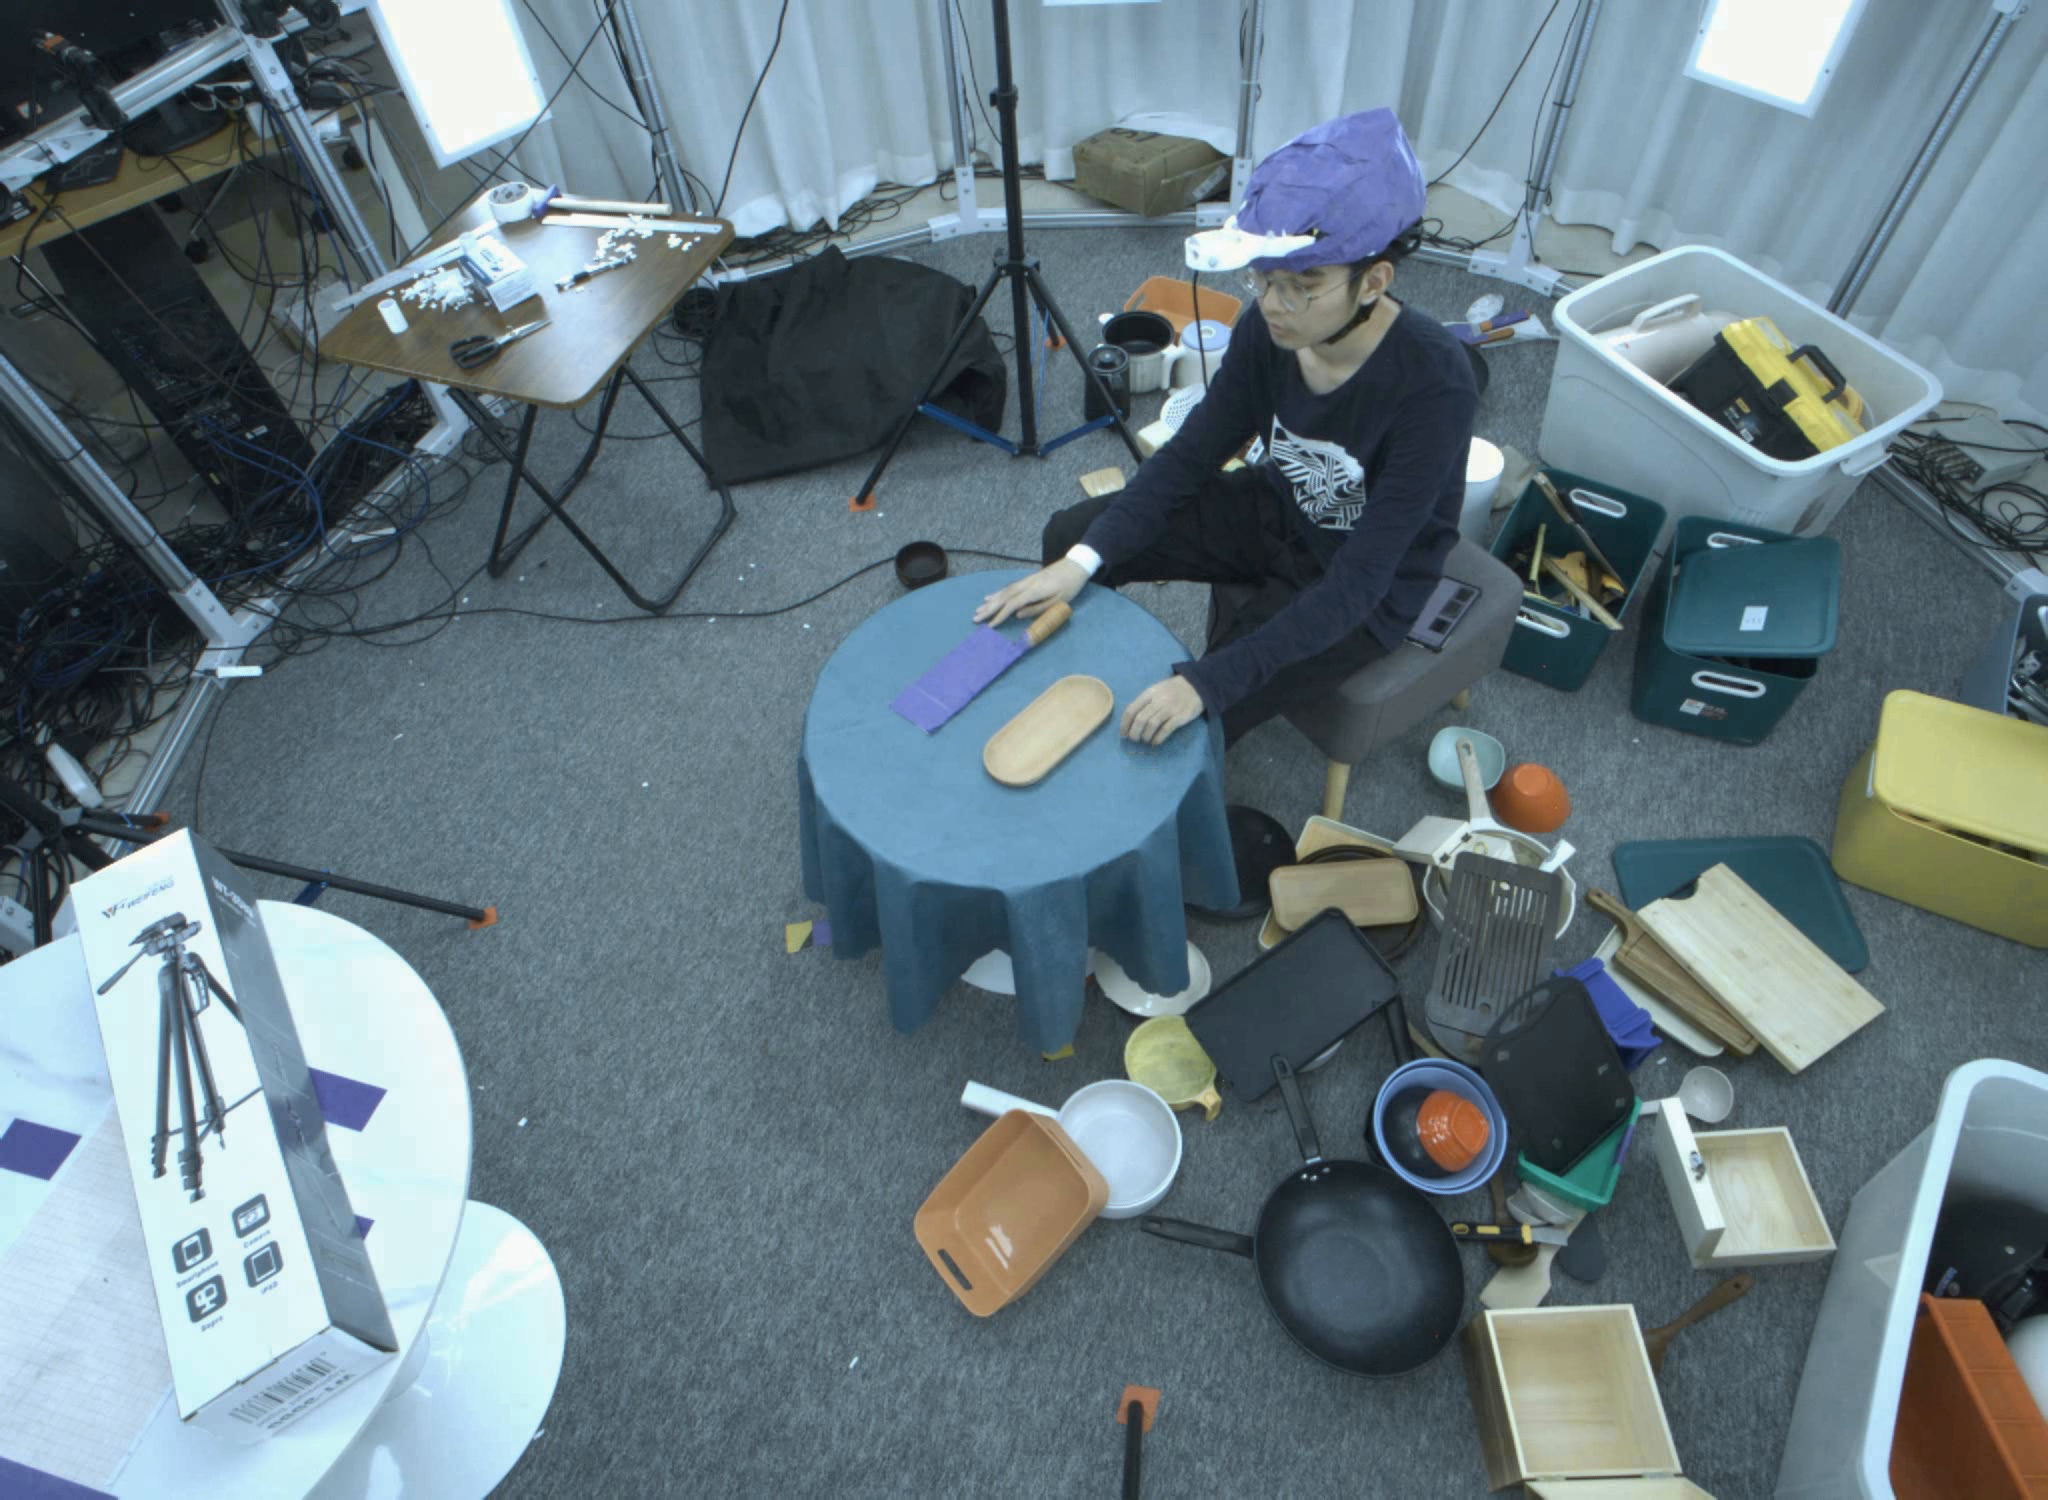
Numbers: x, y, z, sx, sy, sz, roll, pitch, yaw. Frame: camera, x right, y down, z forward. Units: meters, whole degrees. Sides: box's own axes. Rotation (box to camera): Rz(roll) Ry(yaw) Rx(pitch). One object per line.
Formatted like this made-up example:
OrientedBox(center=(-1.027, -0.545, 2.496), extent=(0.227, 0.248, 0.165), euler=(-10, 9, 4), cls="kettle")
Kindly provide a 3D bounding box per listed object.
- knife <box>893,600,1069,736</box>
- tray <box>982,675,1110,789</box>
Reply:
OrientedBox(center=(-0.067, -0.144, 1.883), extent=(0.102, 0.032, 0.317), euler=(36, 63, 24), cls="knife")
OrientedBox(center=(0.034, -0.027, 1.804), extent=(0.100, 0.020, 0.232), euler=(35, 64, 24), cls="tray")
